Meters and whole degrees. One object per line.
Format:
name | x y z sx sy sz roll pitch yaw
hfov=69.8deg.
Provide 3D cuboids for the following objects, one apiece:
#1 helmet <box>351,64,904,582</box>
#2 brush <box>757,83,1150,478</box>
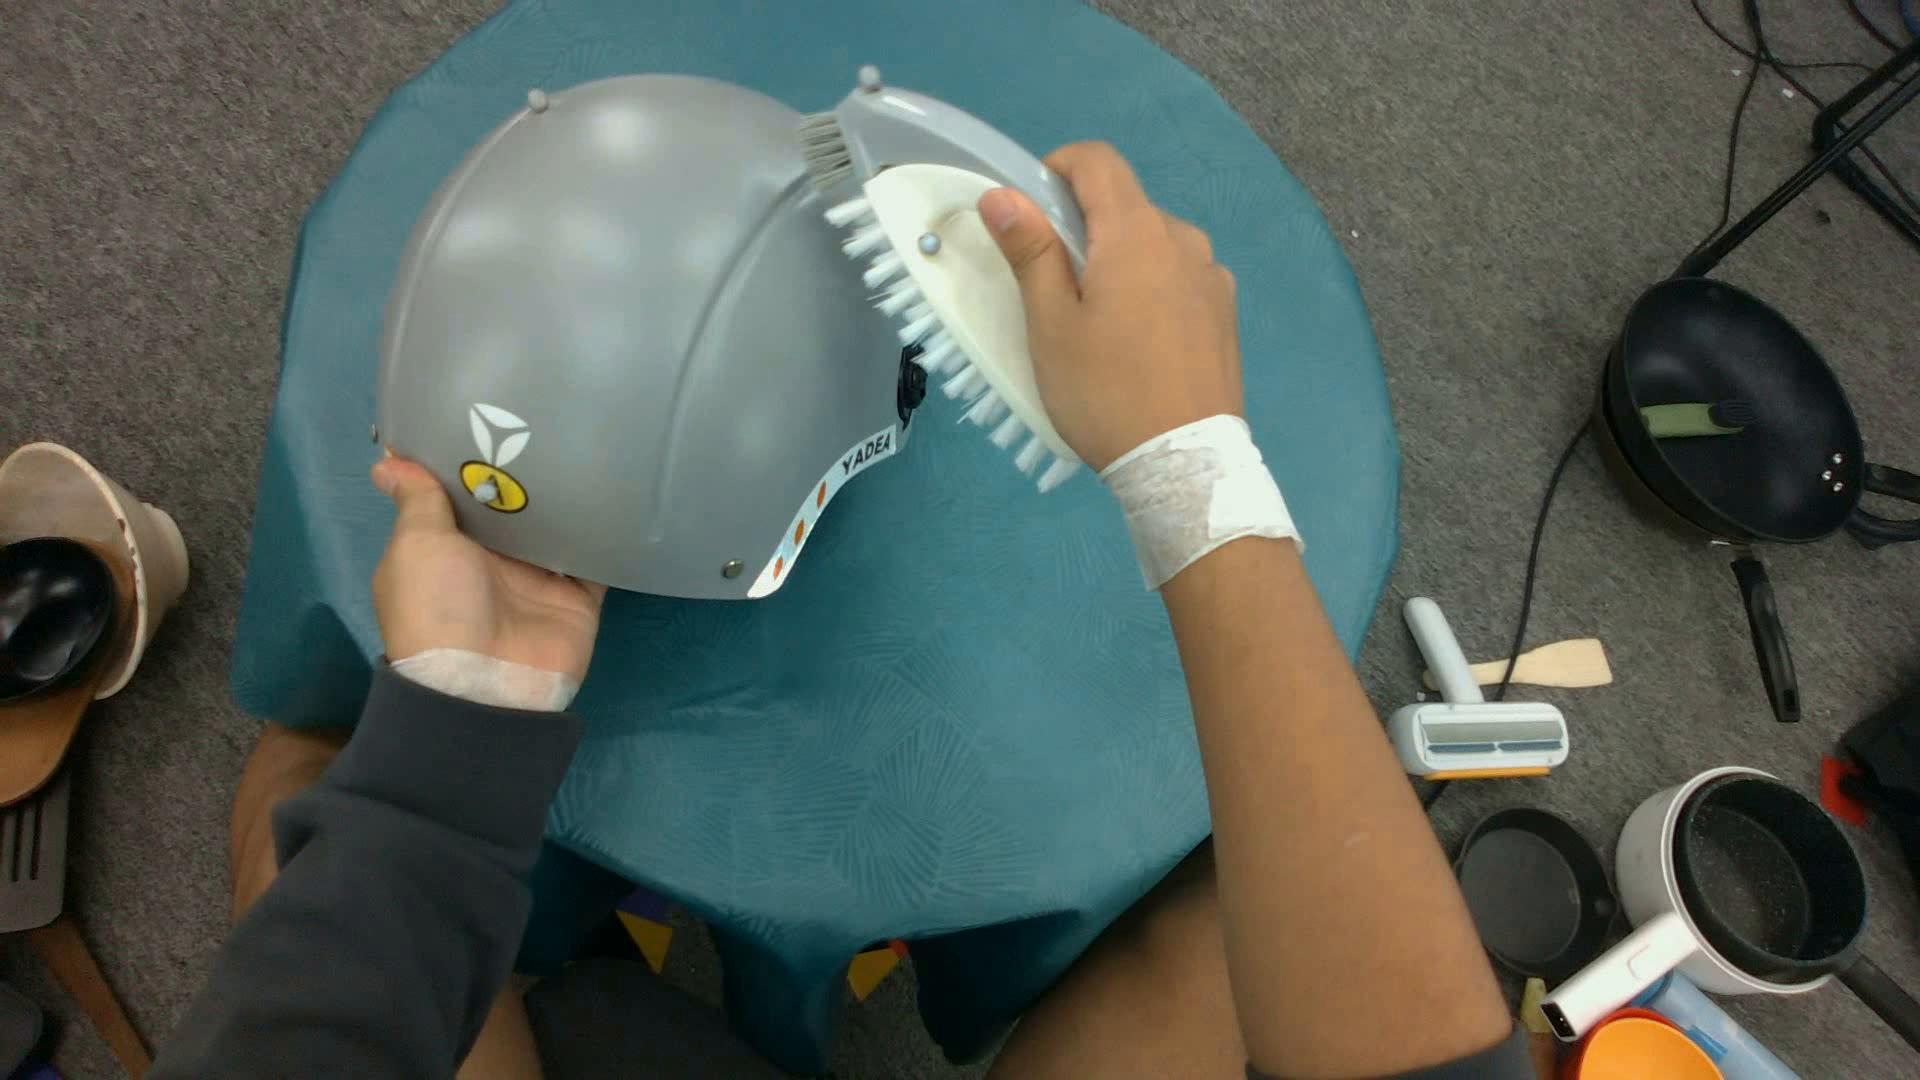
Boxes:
helmet | -0.140 -0.121 0.606 0.232 0.168 0.278 20 49 8
brush | 0.001 -0.112 0.524 0.175 0.094 0.062 46 51 -6
